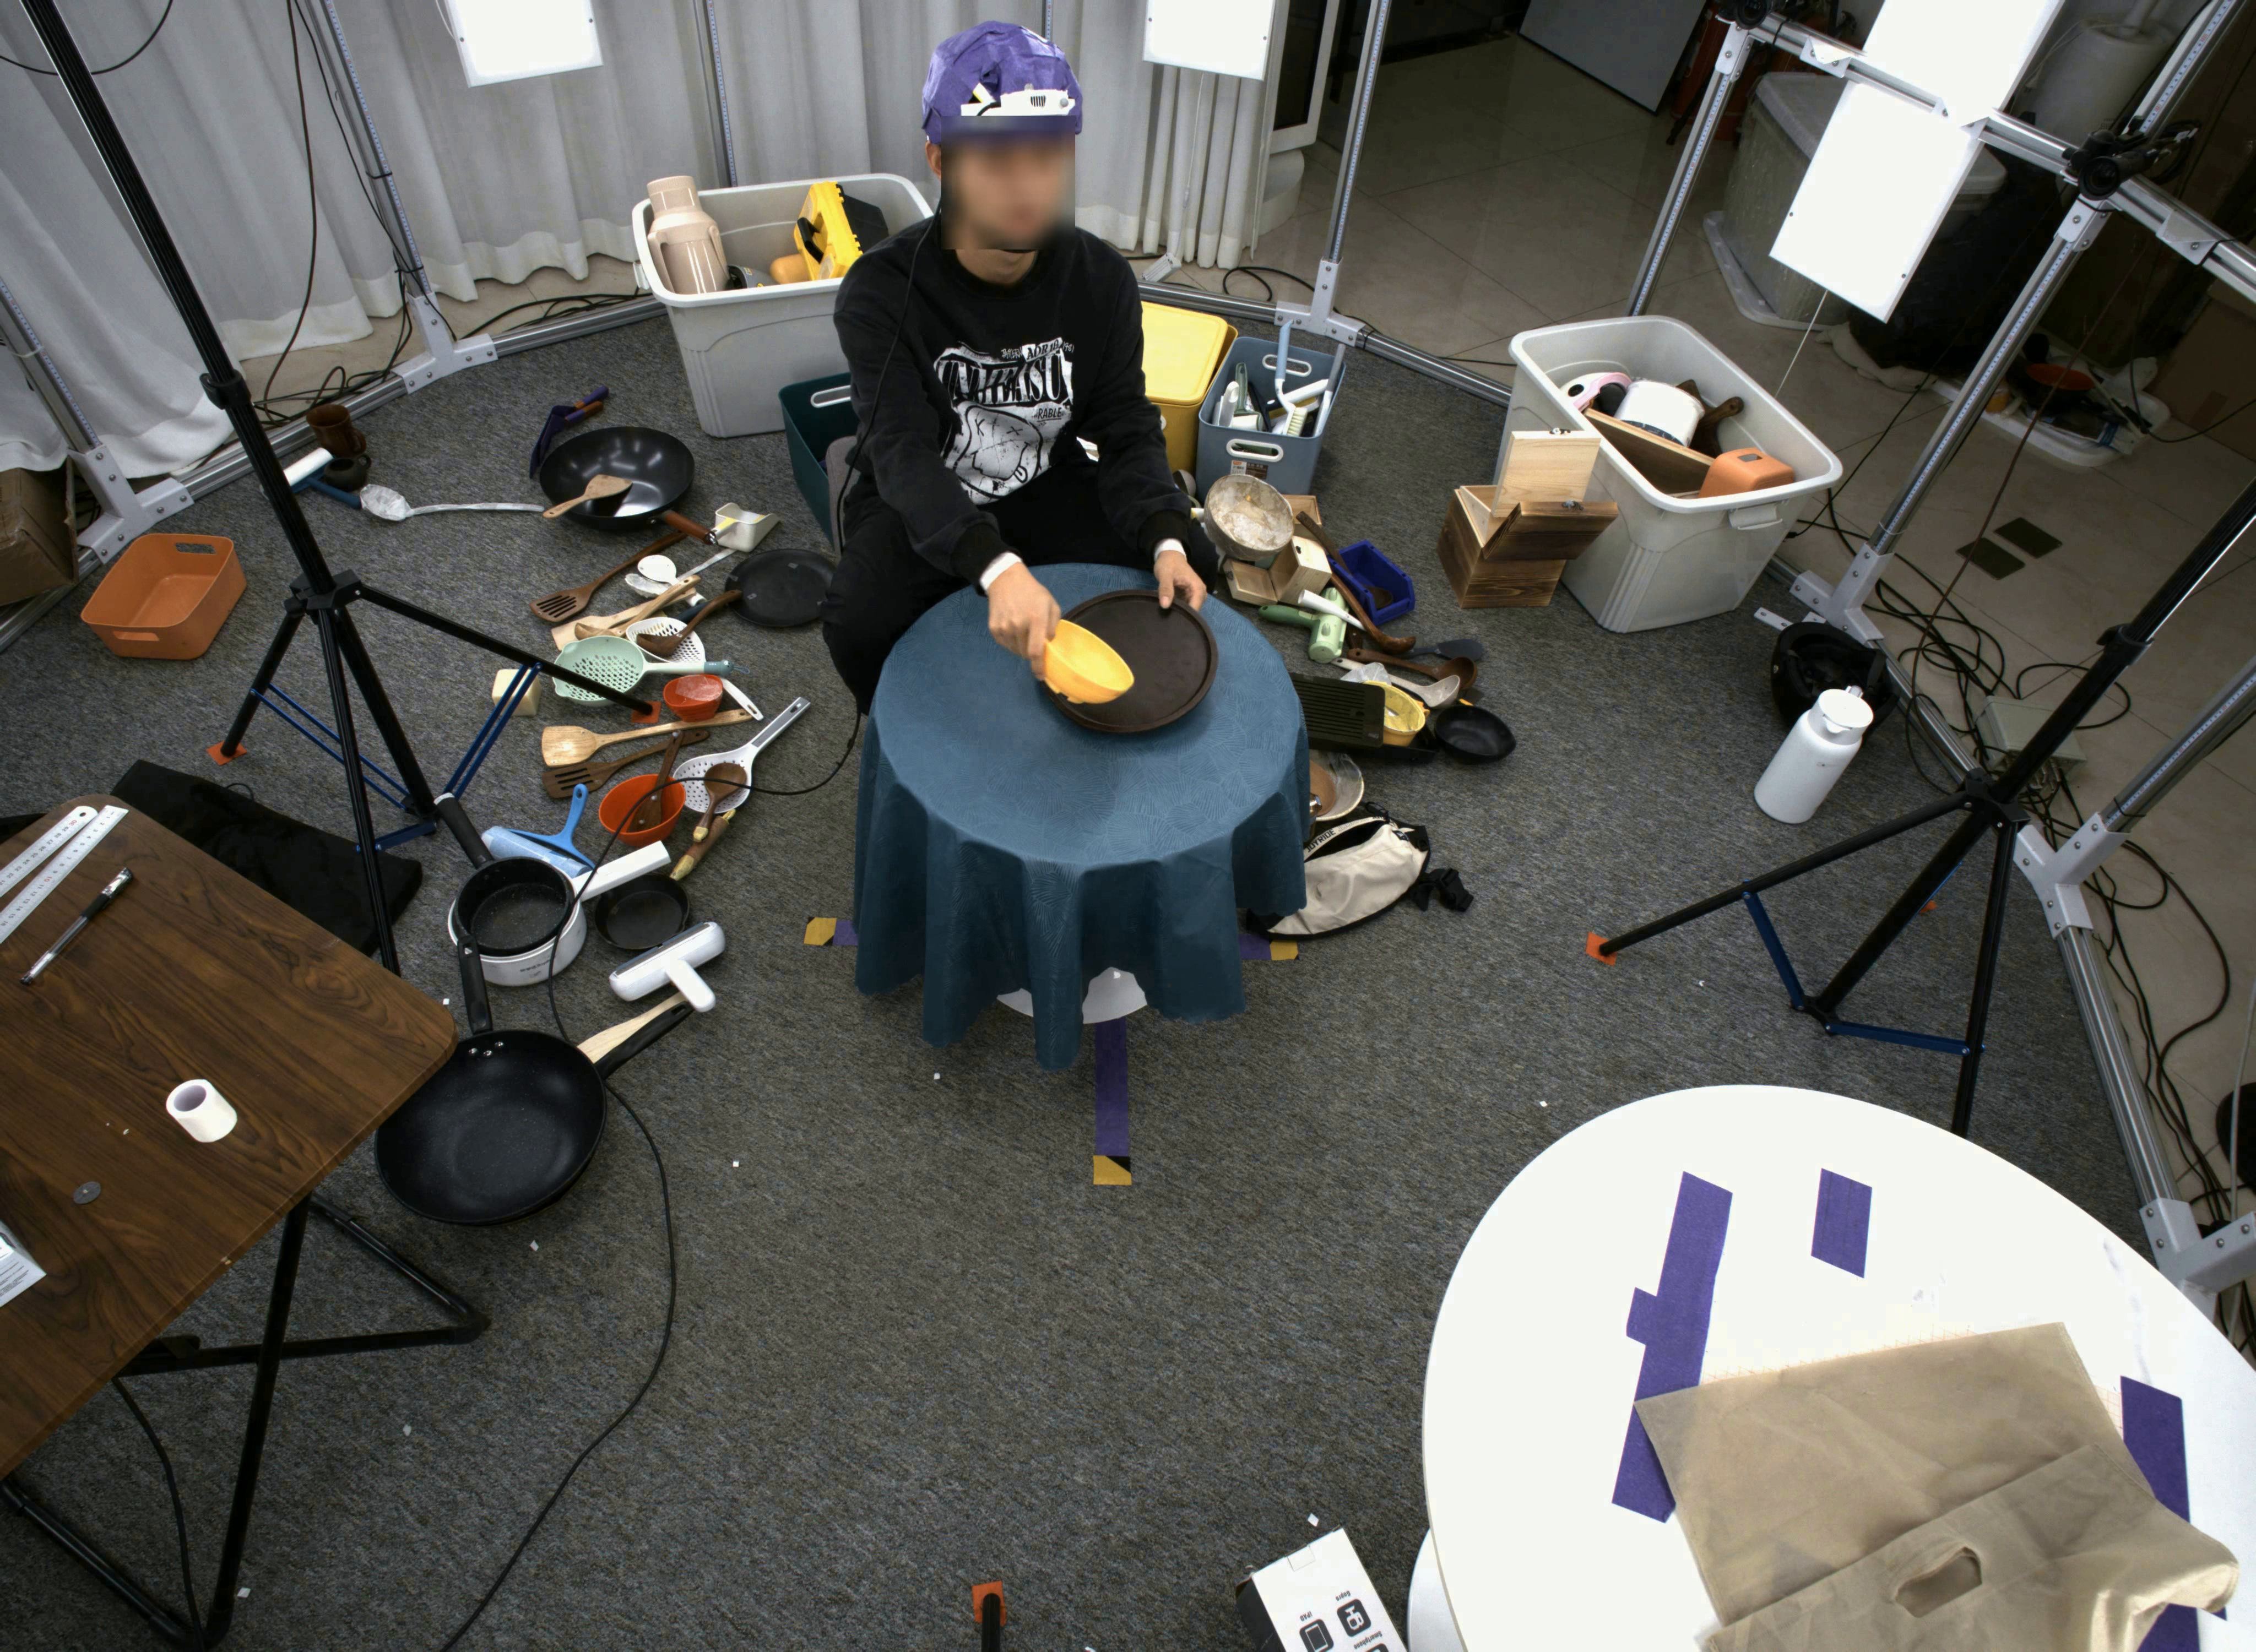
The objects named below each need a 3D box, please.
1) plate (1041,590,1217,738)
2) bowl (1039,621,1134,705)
[{"bbox_3d":[0.002,-0.233,1.842,0.255,0.028,0.260,-4,58,6],"label":"plate"},{"bbox_3d":[-0.066,-0.203,1.700,0.144,0.059,0.148,31,23,-15],"label":"bowl"}]
